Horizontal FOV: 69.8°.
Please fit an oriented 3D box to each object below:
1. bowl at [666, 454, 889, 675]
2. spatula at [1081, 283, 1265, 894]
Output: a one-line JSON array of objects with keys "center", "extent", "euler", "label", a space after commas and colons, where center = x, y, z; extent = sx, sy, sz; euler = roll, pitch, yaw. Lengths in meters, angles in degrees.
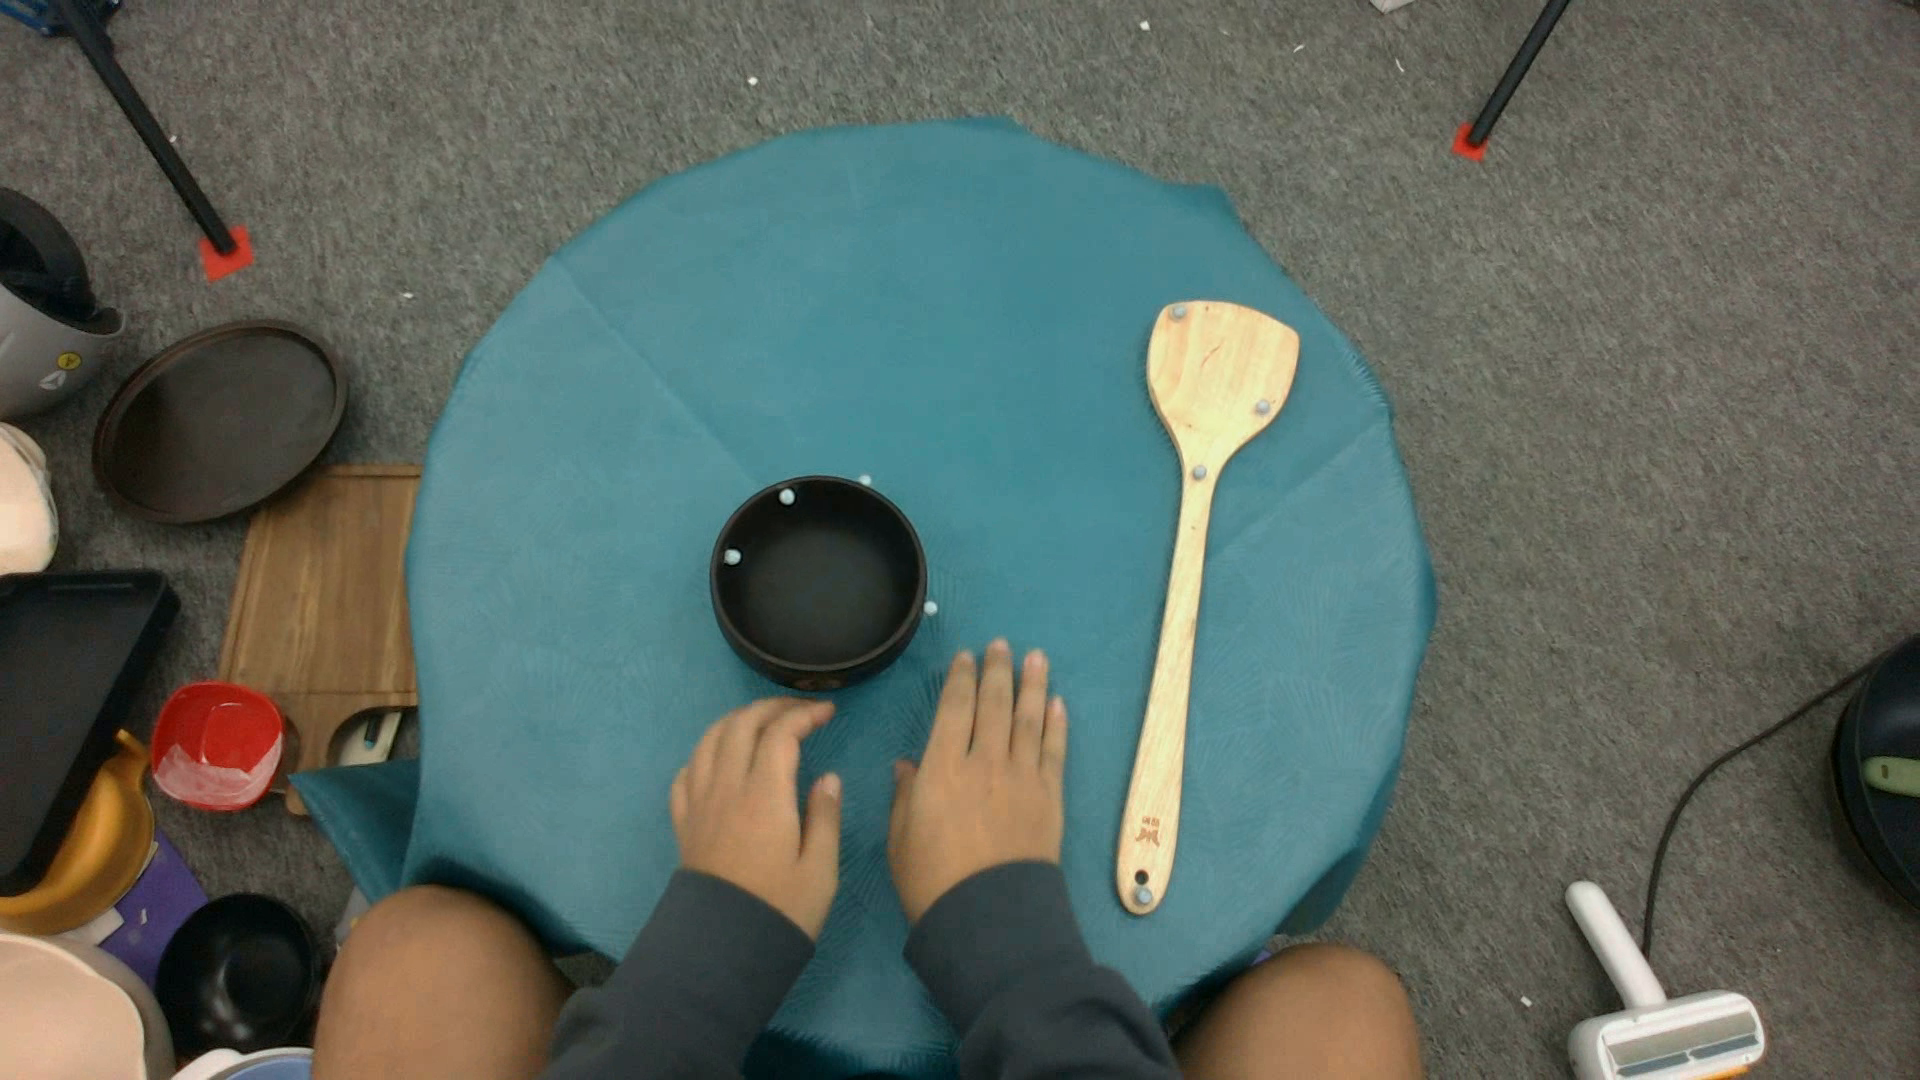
[{"center": [-0.098, 0.019, 0.753], "extent": [0.118, 0.069, 0.118], "euler": [2, 67, -5], "label": "bowl"}, {"center": [0.116, 0.013, 0.810], "extent": [0.096, 0.018, 0.392], "euler": [11, 65, 1], "label": "spatula"}]
